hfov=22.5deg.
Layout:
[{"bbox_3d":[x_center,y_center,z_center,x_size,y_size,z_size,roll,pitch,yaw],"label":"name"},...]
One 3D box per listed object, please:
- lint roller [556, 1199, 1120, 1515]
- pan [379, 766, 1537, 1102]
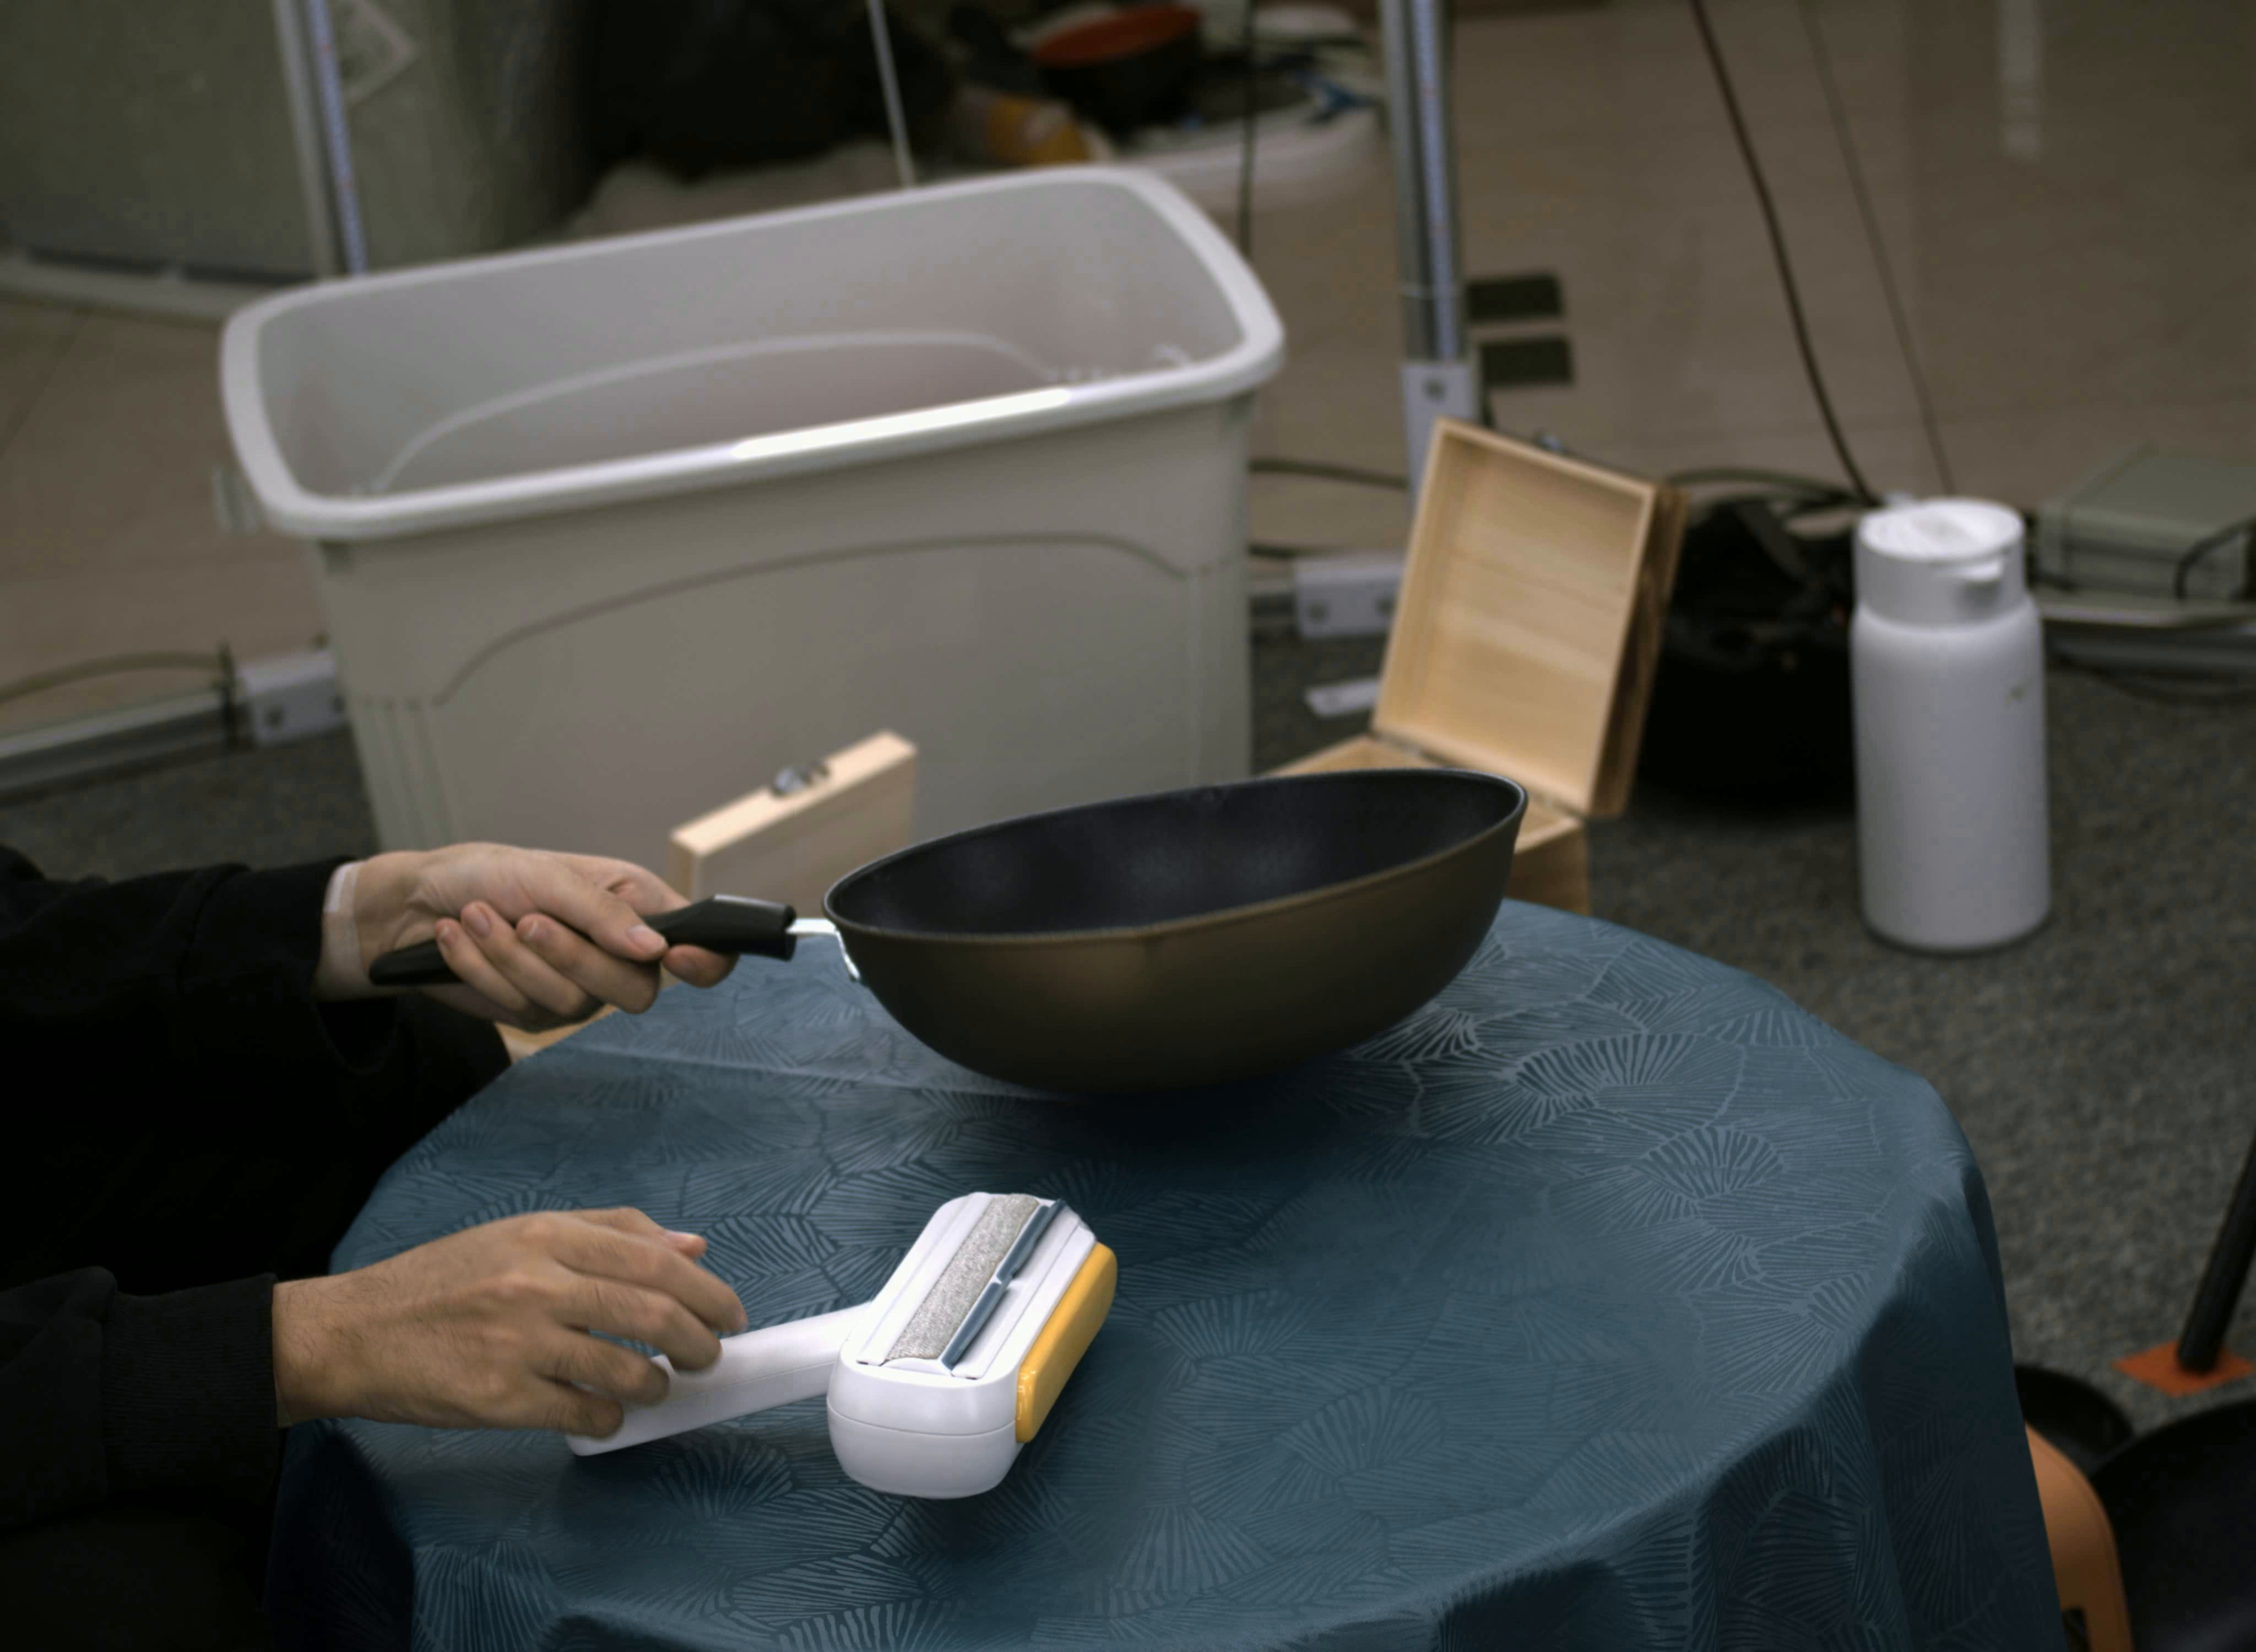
[{"bbox_3d":[-0.112,0.188,1.985,0.192,0.075,0.190,0,21,16],"label":"lint roller"},{"bbox_3d":[-0.064,0.058,2.211,0.463,0.087,0.286,-7,11,8],"label":"pan"}]
